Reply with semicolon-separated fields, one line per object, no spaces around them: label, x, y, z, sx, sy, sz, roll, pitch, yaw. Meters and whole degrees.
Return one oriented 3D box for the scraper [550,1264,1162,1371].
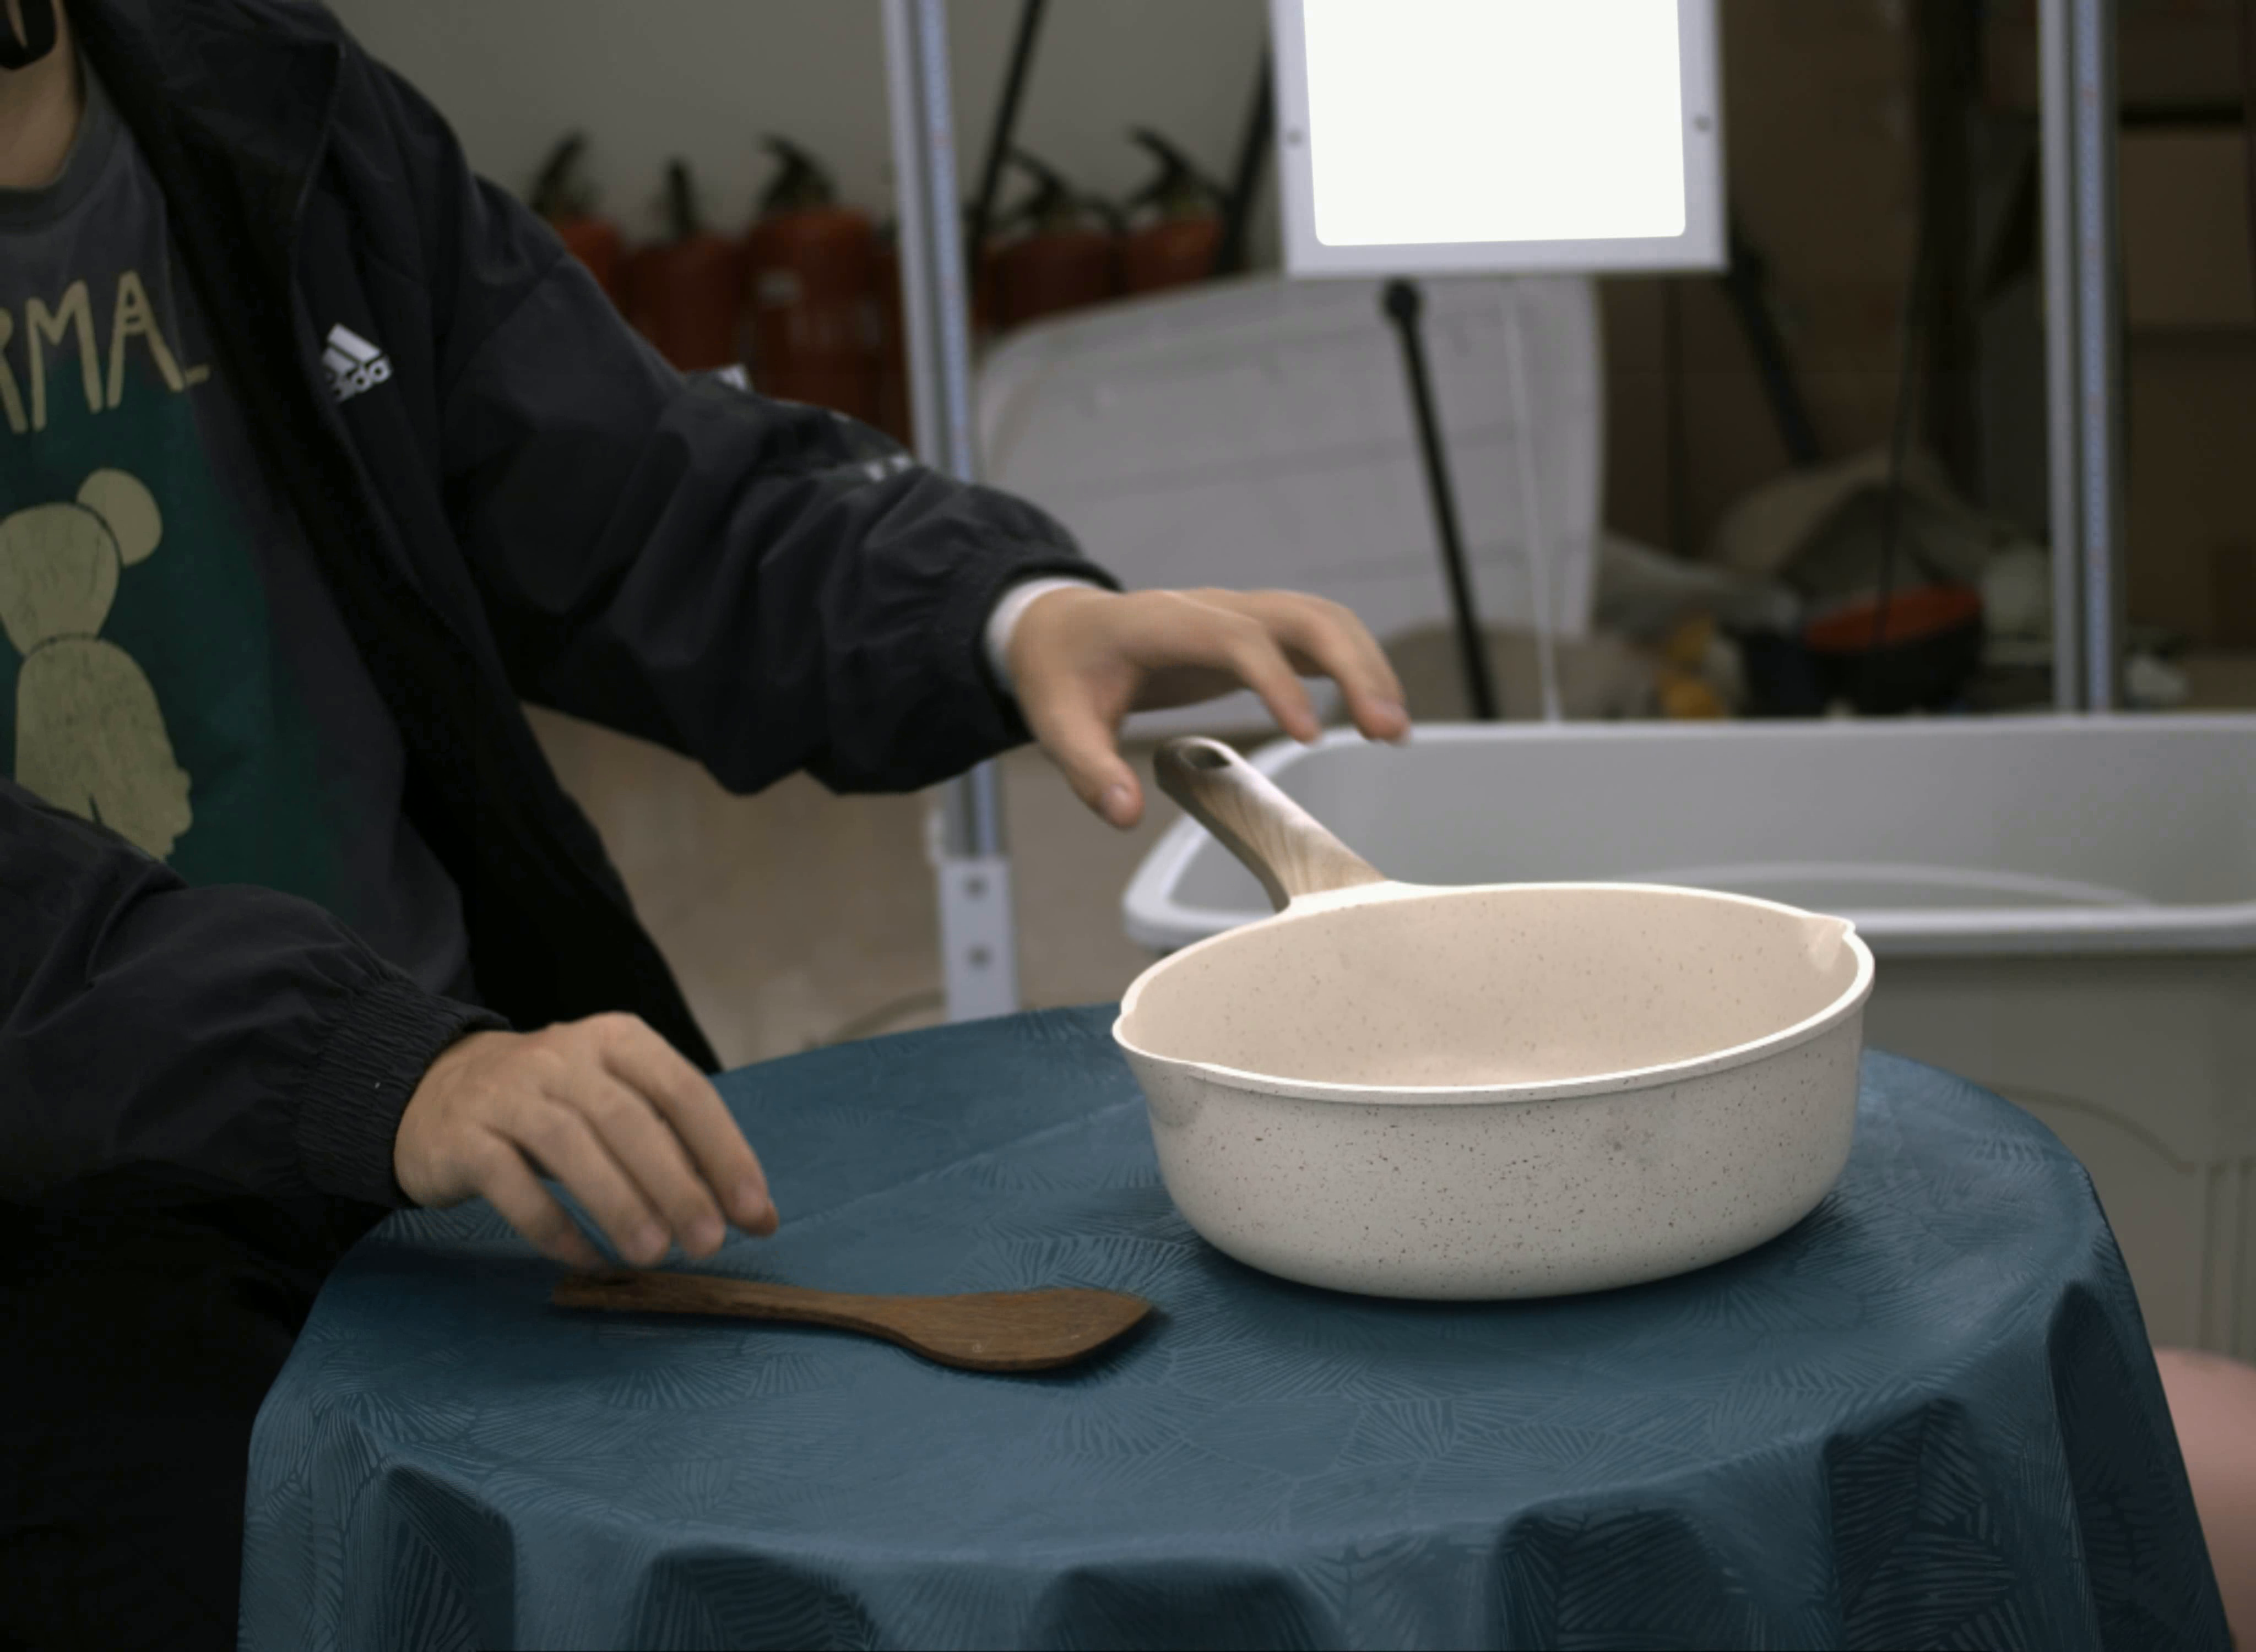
scraper;-0.093;0.156;1.787;0.215;0.011;0.074;3;15;27

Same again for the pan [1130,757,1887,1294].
pan;0.099;0.063;1.914;0.259;0.102;0.440;-11;14;-17
